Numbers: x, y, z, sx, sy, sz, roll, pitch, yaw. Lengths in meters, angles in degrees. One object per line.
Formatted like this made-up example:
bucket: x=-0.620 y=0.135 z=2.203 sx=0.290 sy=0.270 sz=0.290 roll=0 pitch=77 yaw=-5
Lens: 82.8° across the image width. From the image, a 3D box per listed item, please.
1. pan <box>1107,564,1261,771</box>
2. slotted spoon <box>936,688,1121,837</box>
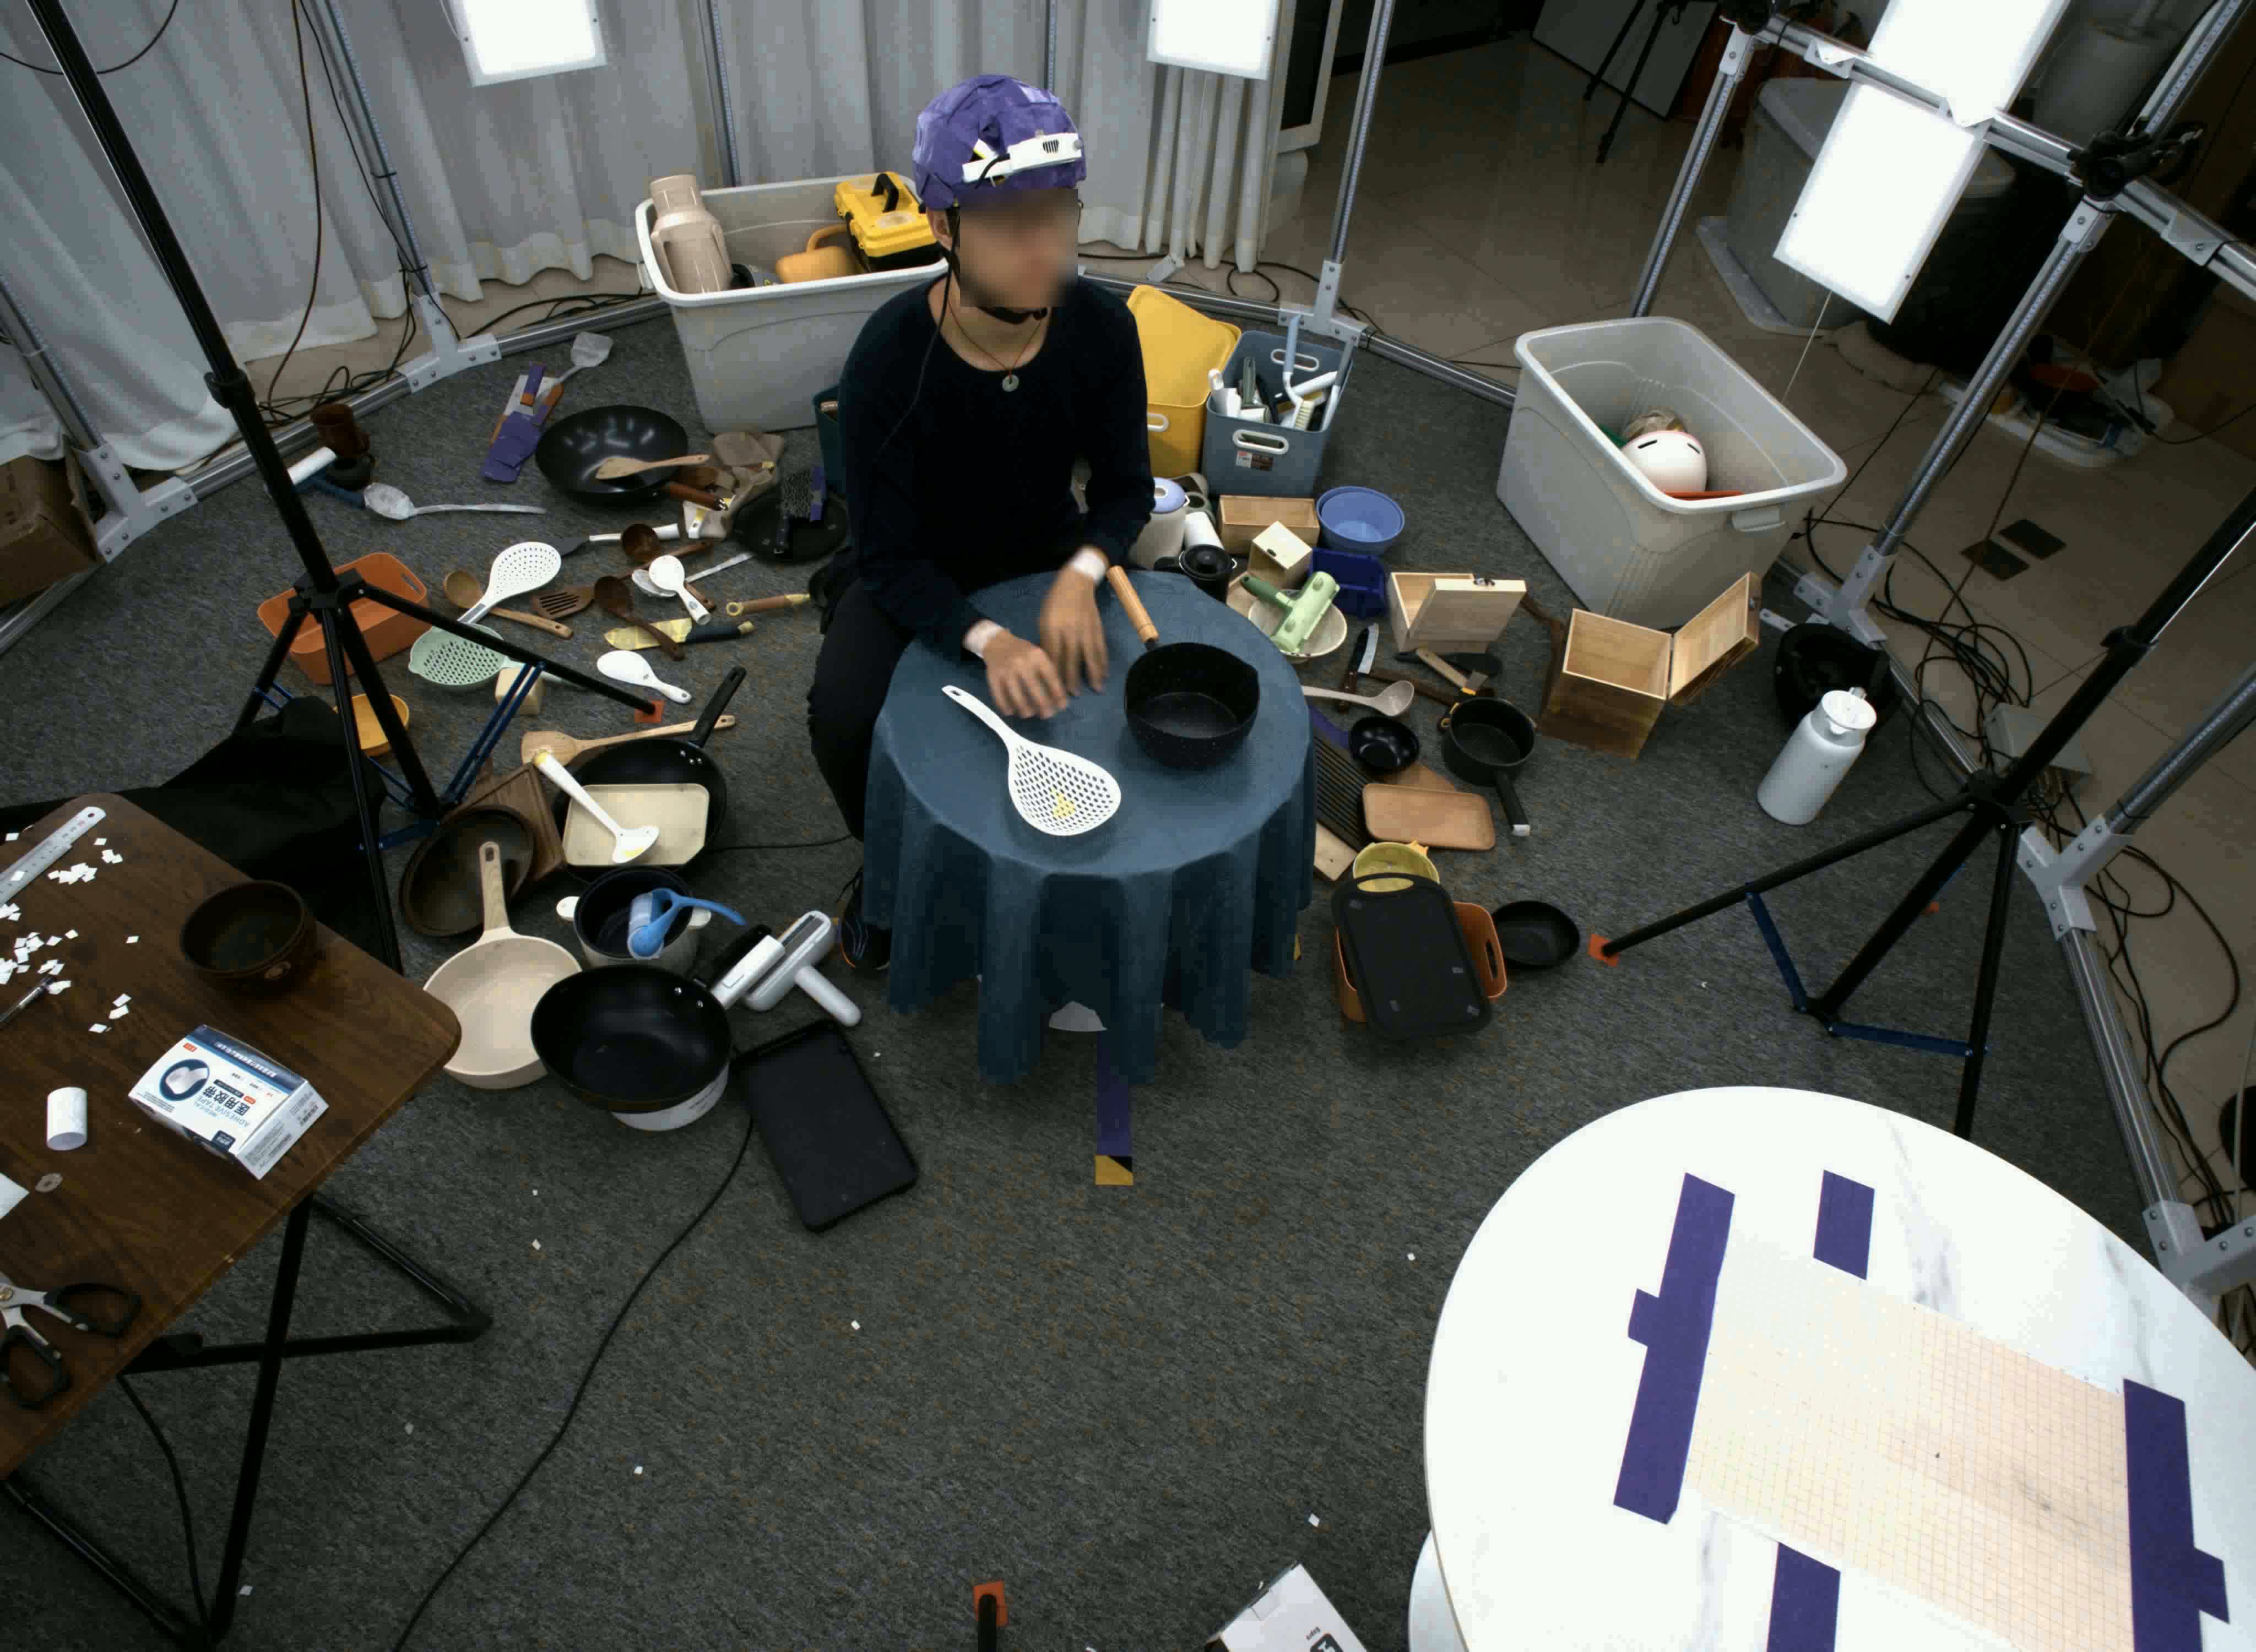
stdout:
pan: x=0.049 y=-0.223 z=1.796 sx=0.208 sy=0.105 sz=0.350 roll=-20 pitch=54 yaw=-18
slotted spoon: x=-0.148 y=-0.098 z=1.716 sx=0.137 sy=0.049 sz=0.354 roll=-30 pitch=59 yaw=-25
